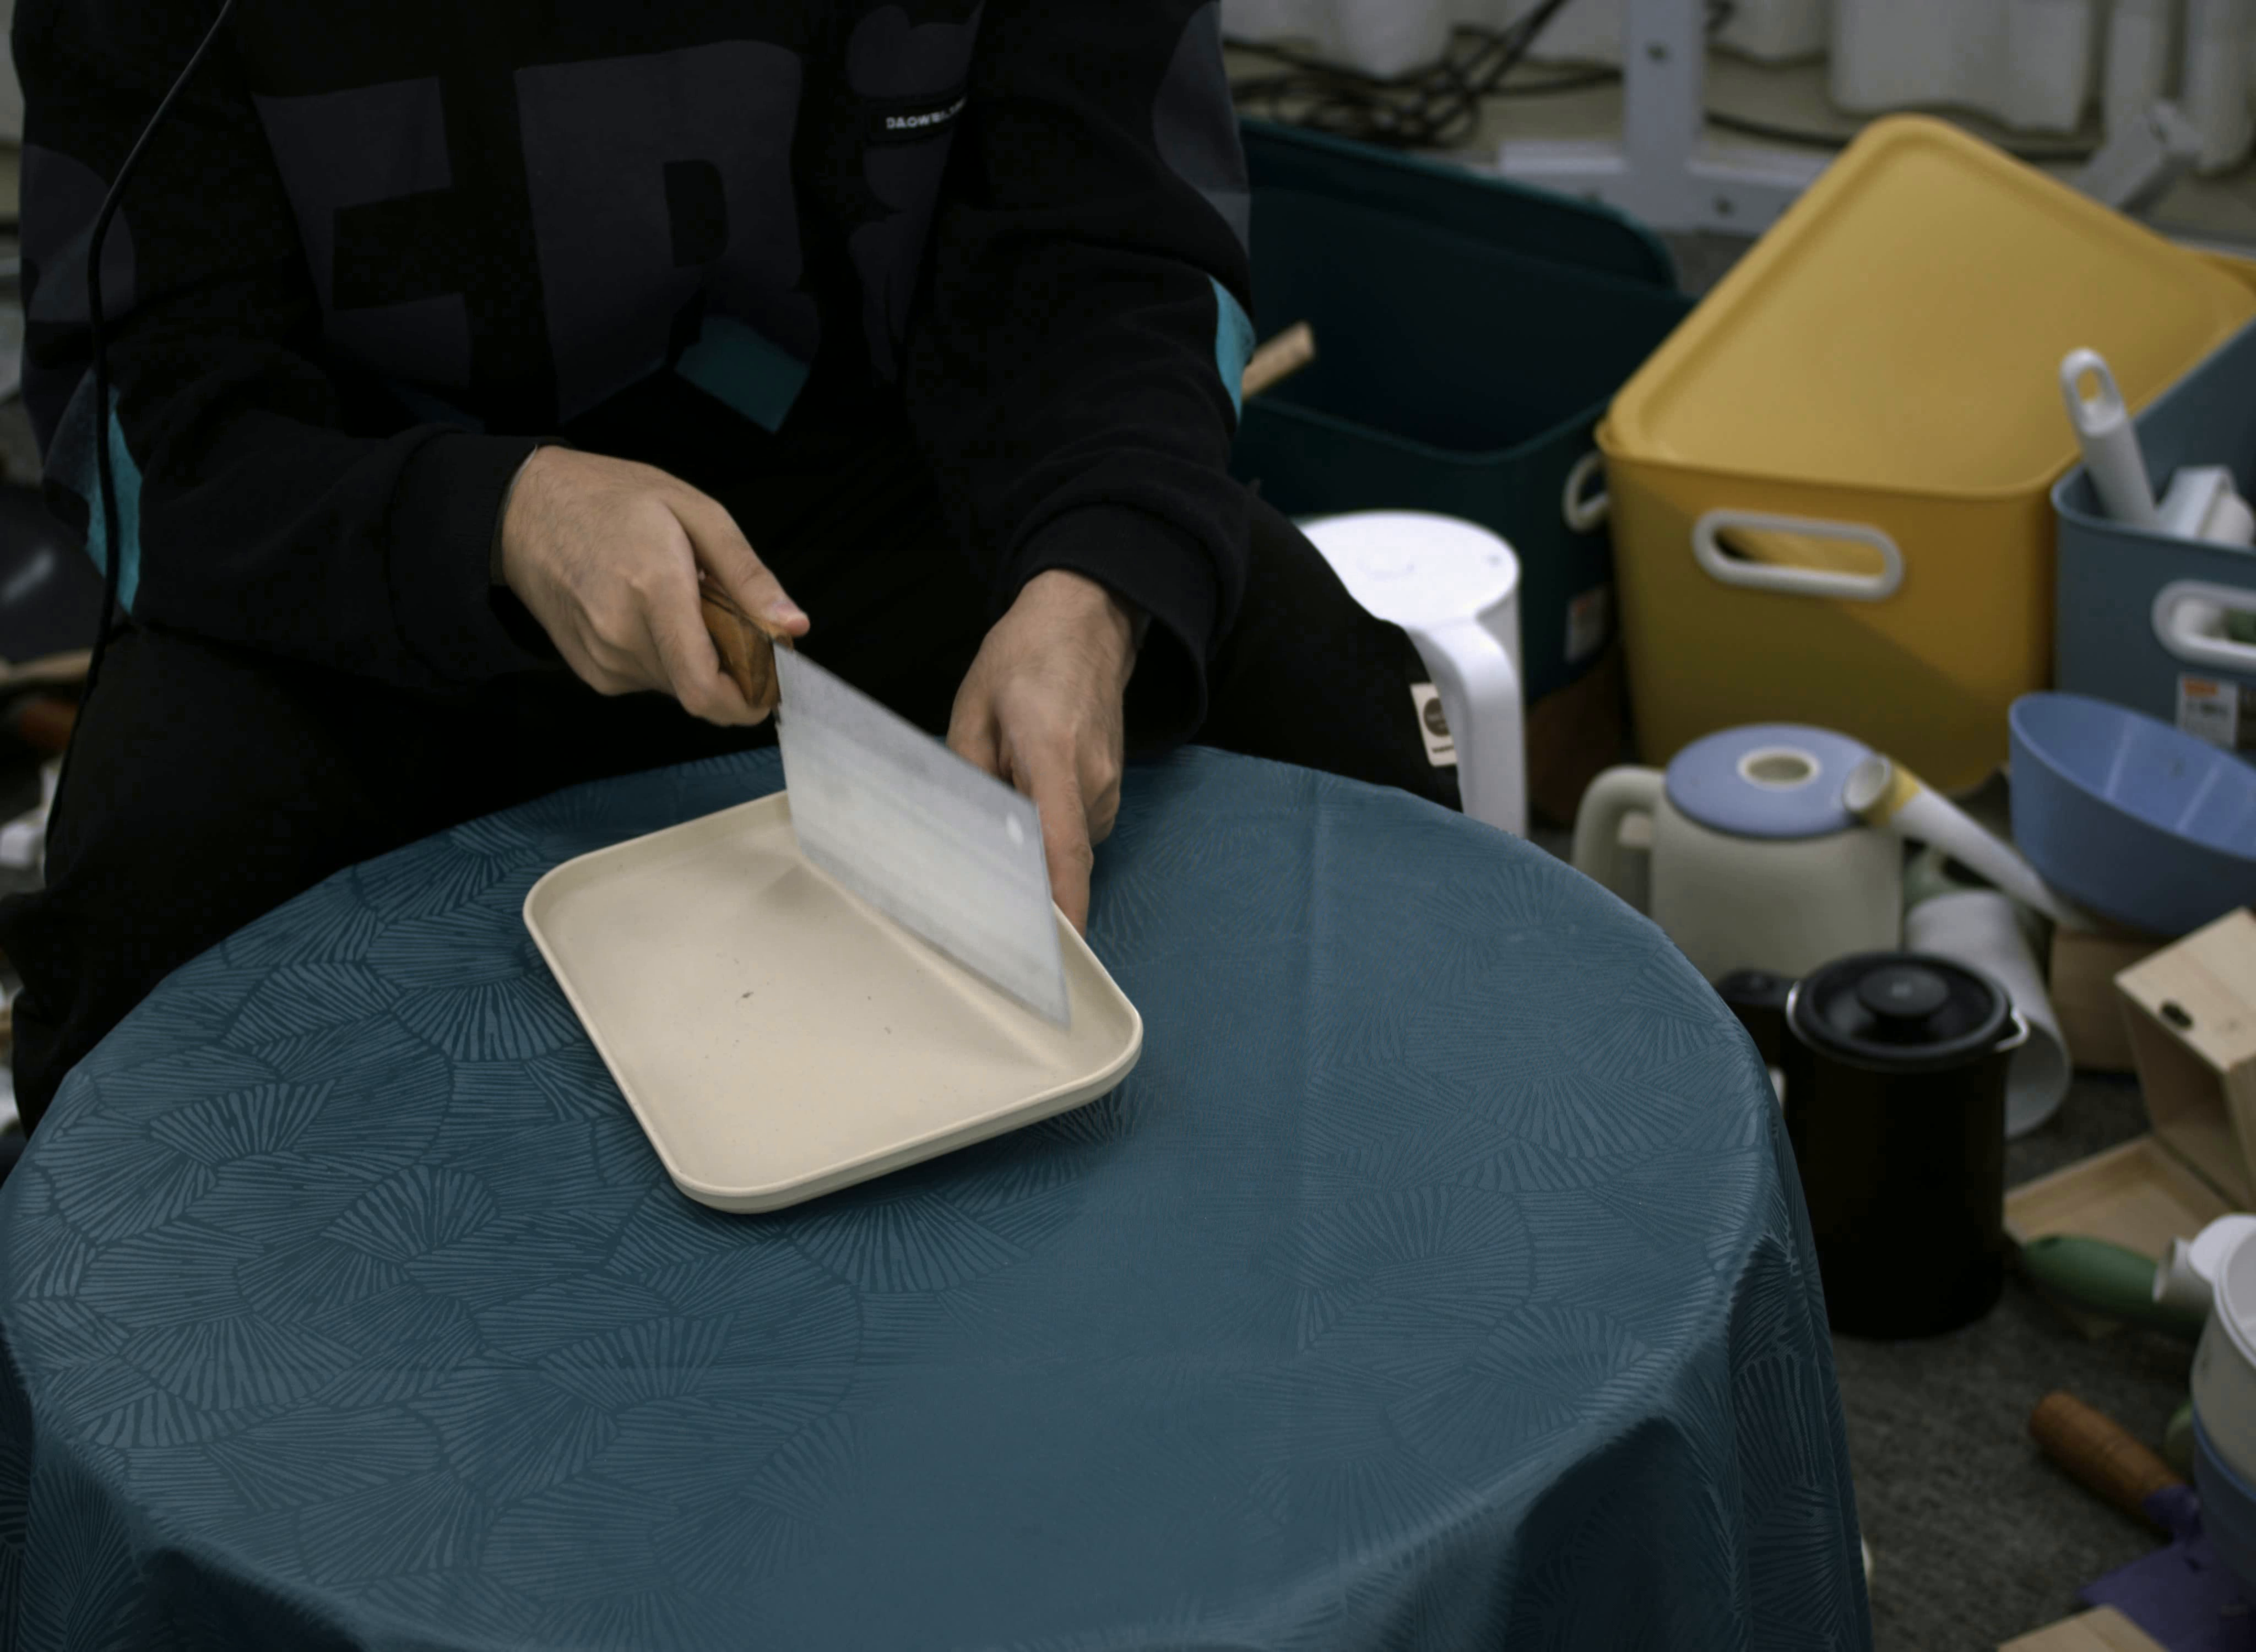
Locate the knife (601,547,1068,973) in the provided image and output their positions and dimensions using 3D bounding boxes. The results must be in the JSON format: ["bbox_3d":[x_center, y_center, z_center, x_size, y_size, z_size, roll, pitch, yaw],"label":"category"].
[{"bbox_3d":[-0.104,-0.022,1.990,0.021,0.092,0.306,-22,29,-25],"label":"knife"}]

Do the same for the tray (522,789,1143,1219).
[{"bbox_3d":[-0.105,0.055,1.959,0.172,0.017,0.242,-19,32,-14],"label":"tray"}]
